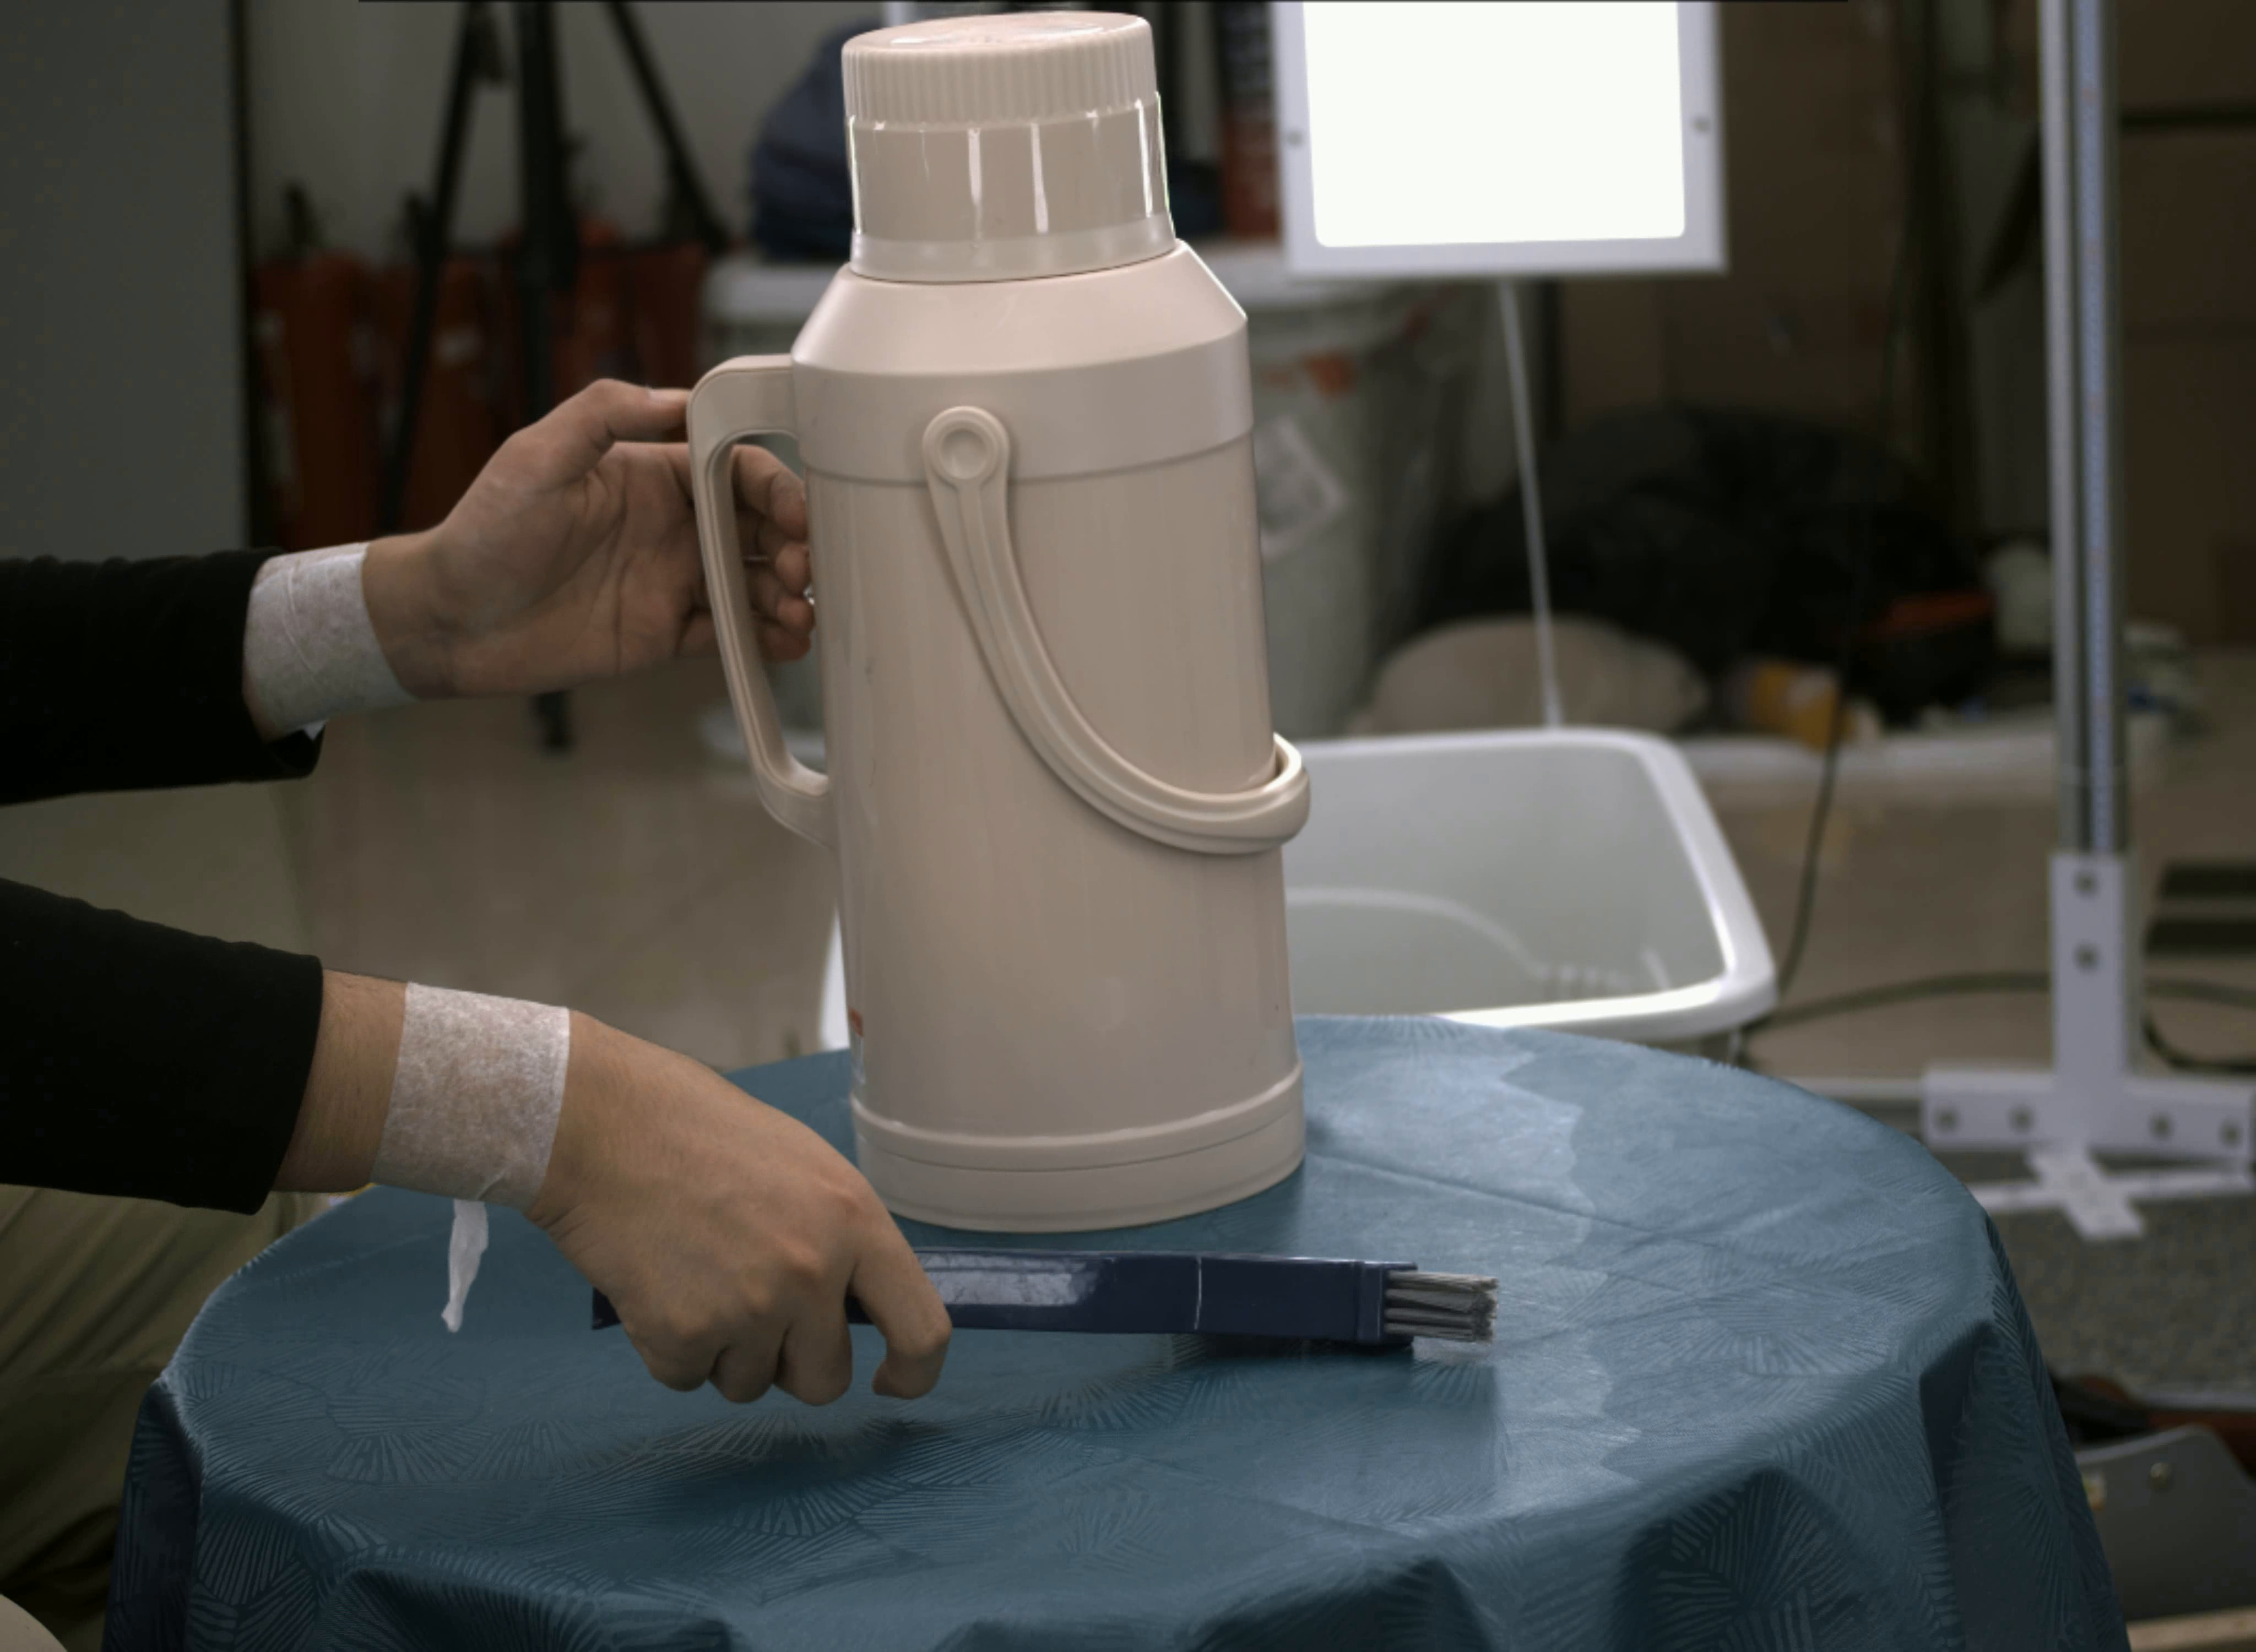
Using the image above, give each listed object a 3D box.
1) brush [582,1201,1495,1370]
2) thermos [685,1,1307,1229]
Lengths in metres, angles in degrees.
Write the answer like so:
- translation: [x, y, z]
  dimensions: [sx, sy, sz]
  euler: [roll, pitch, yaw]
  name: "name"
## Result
- translation: [-0.028, 0.141, 1.685]
  dimensions: [0.268, 0.033, 0.097]
  euler: [5, 1, -20]
  name: "brush"
- translation: [-0.044, -0.074, 1.895]
  dimensions: [0.209, 0.408, 0.173]
  euler: [-1, 16, 13]
  name: "thermos"
